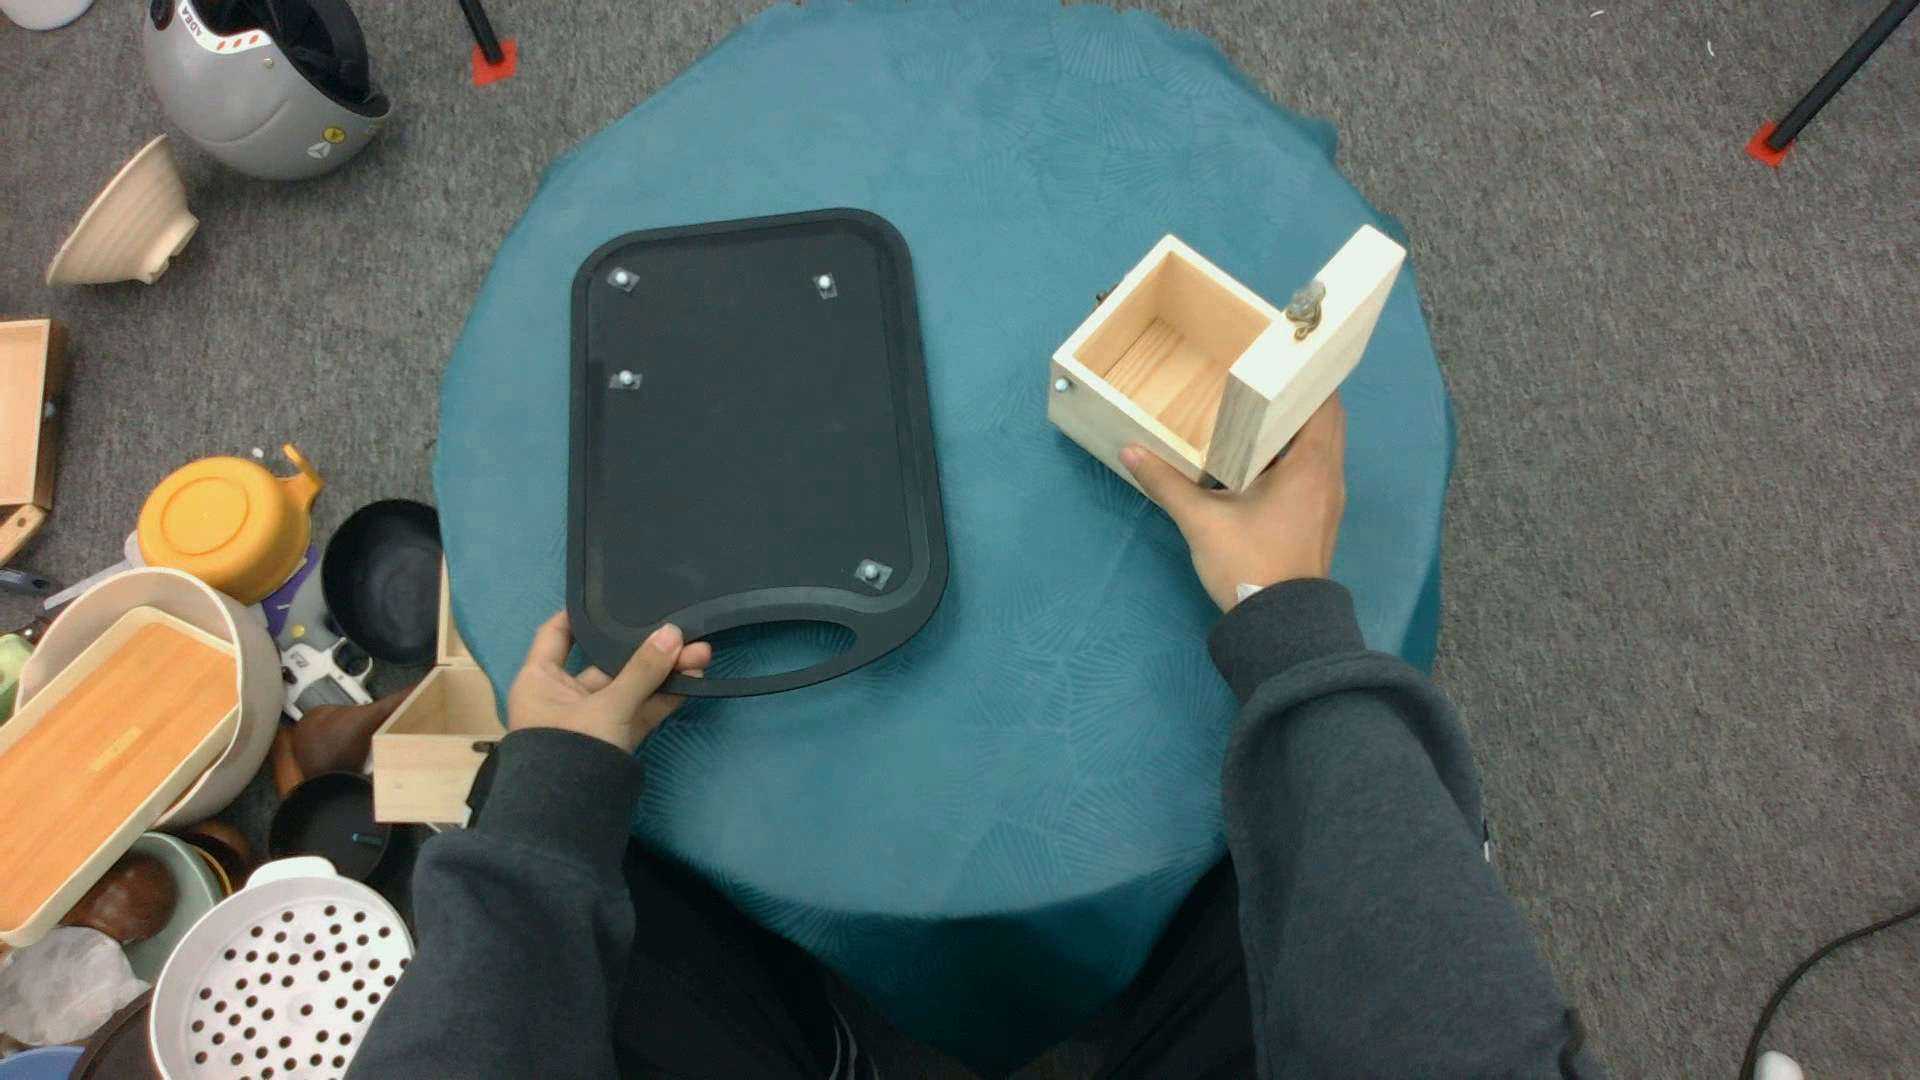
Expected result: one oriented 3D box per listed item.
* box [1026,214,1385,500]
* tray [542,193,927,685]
[{"bbox_3d":[0.116,-0.112,0.716,0.134,0.184,0.103,38,75,12],"label":"box"},{"bbox_3d":[-0.133,-0.070,0.791,0.211,0.010,0.326,-7,62,-2],"label":"tray"}]
